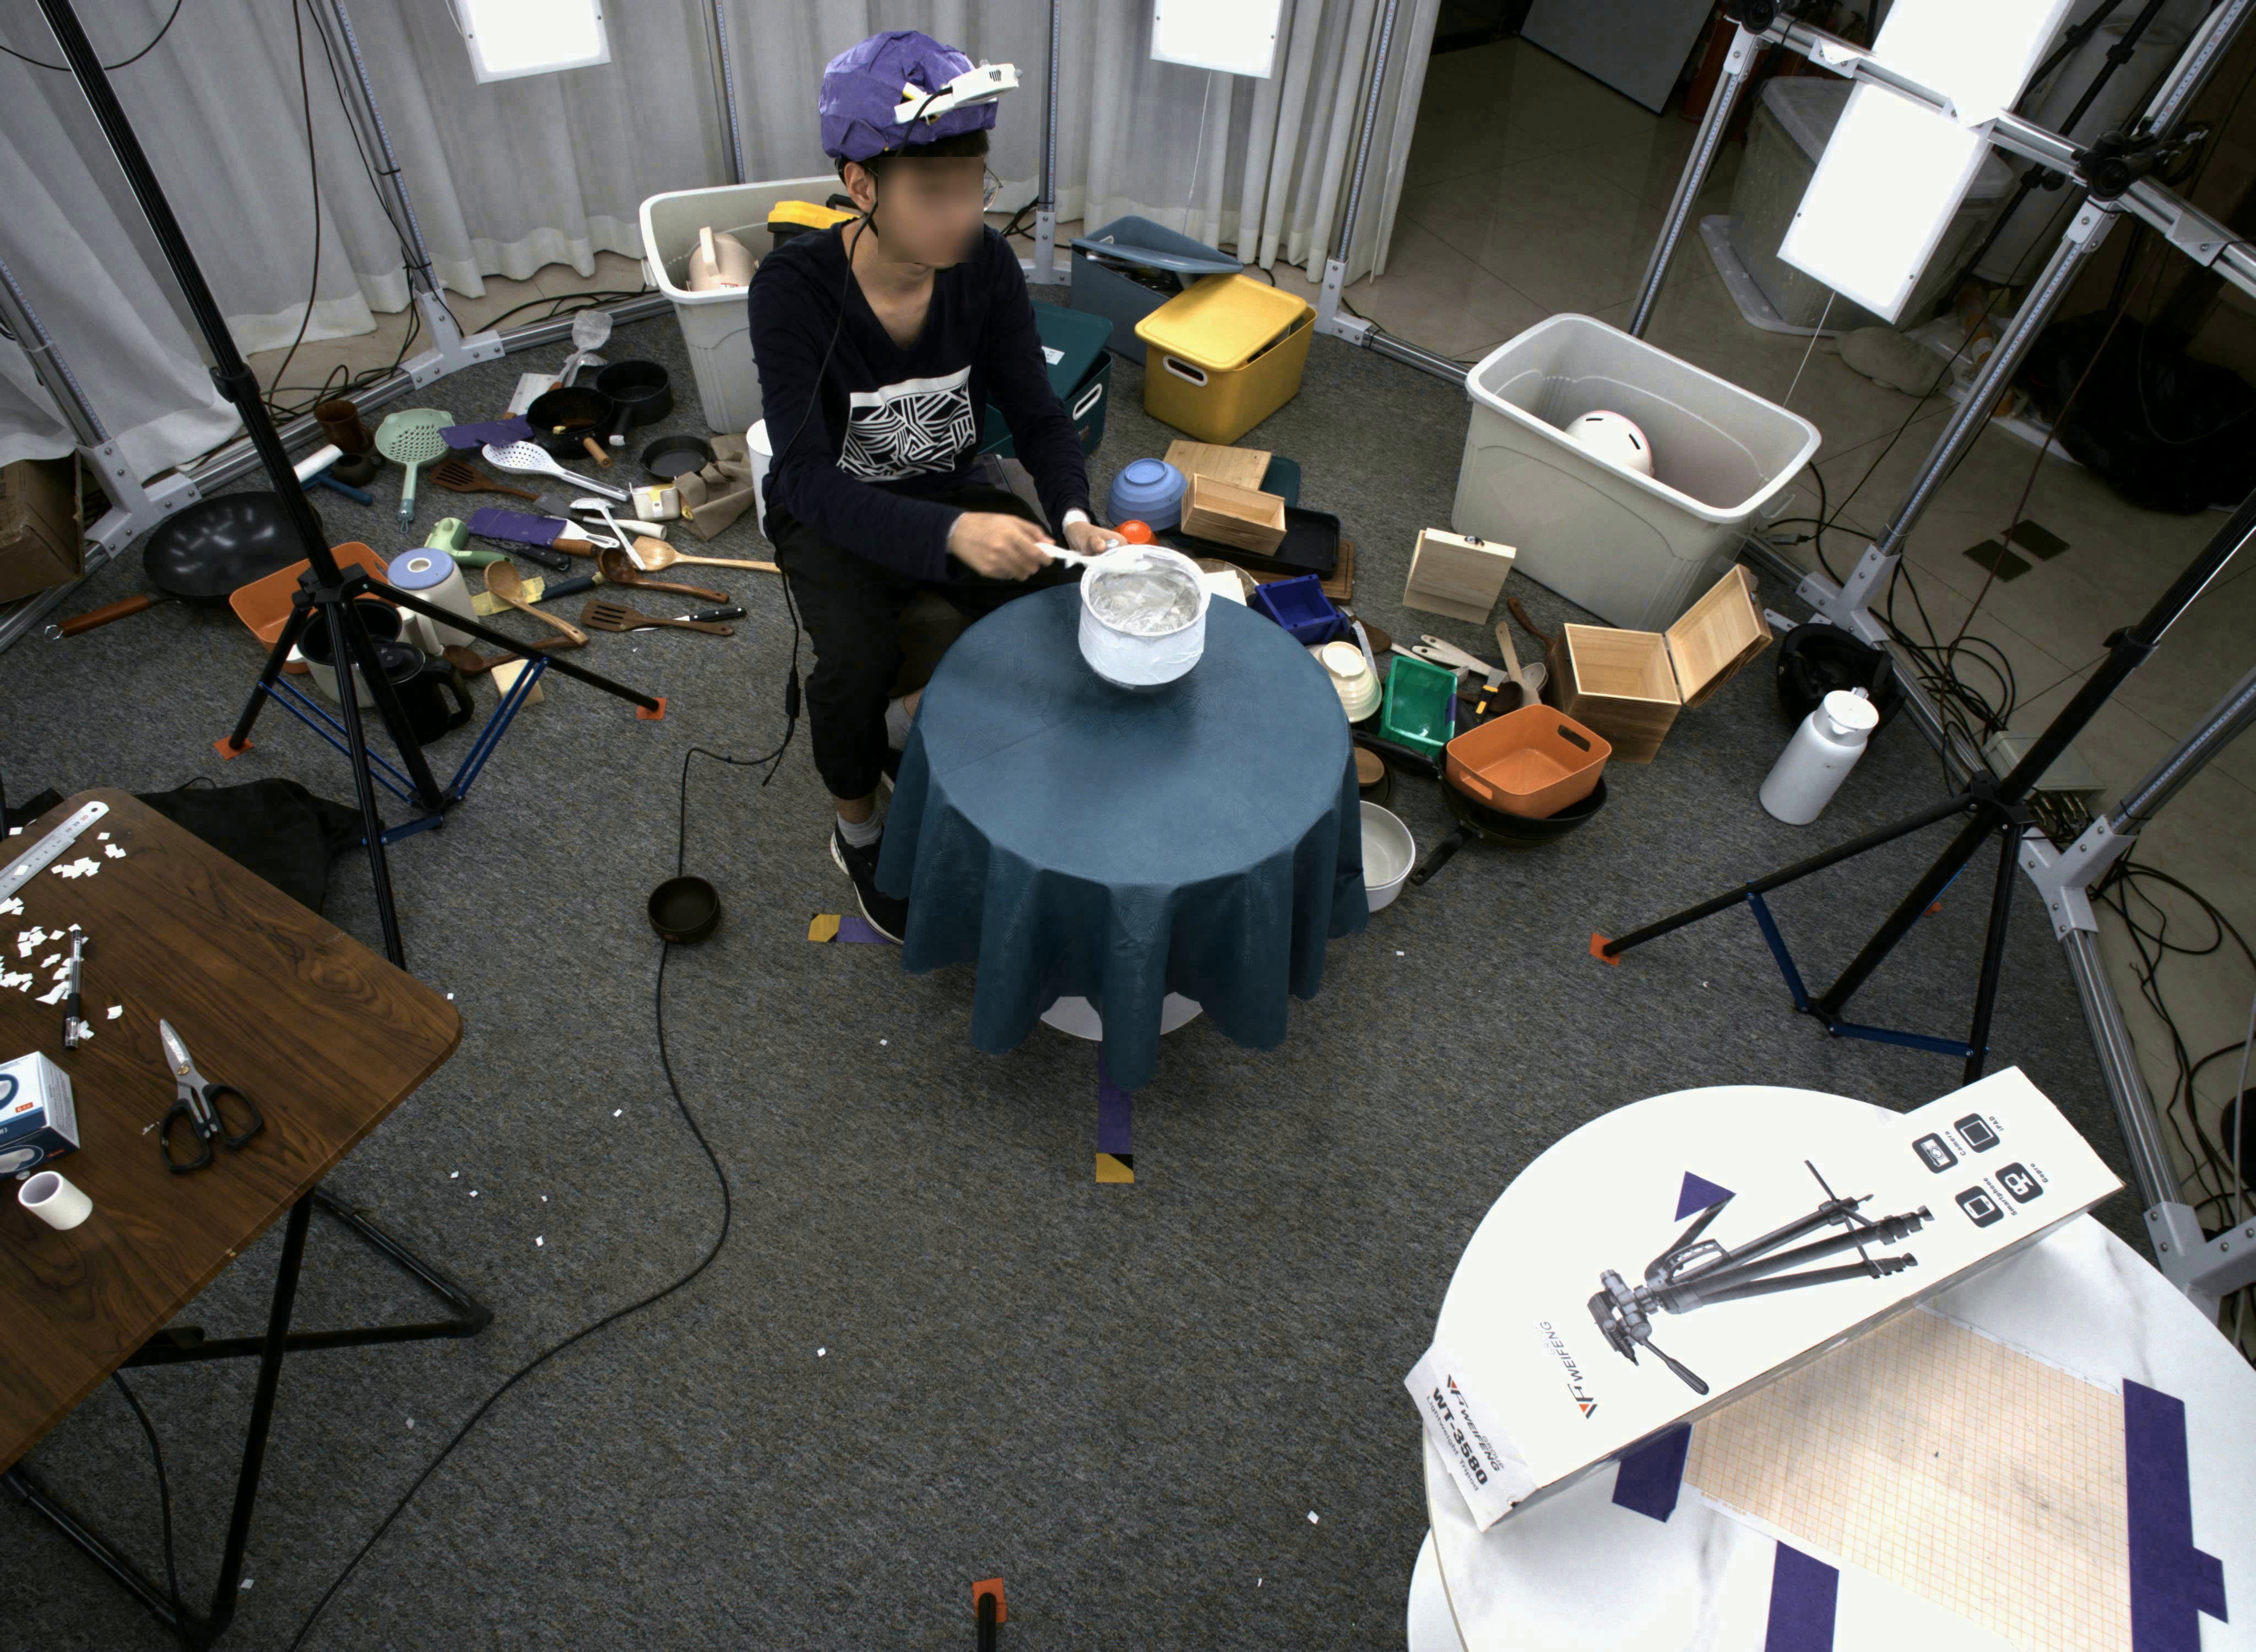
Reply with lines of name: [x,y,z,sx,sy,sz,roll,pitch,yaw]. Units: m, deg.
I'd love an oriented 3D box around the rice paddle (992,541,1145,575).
rice paddle: [-0.076,-0.341,1.646,0.206,0.029,0.069,9,20,19]

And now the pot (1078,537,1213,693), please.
pot: [0.008,-0.305,1.798,0.179,0.133,0.238,-20,58,-21]
